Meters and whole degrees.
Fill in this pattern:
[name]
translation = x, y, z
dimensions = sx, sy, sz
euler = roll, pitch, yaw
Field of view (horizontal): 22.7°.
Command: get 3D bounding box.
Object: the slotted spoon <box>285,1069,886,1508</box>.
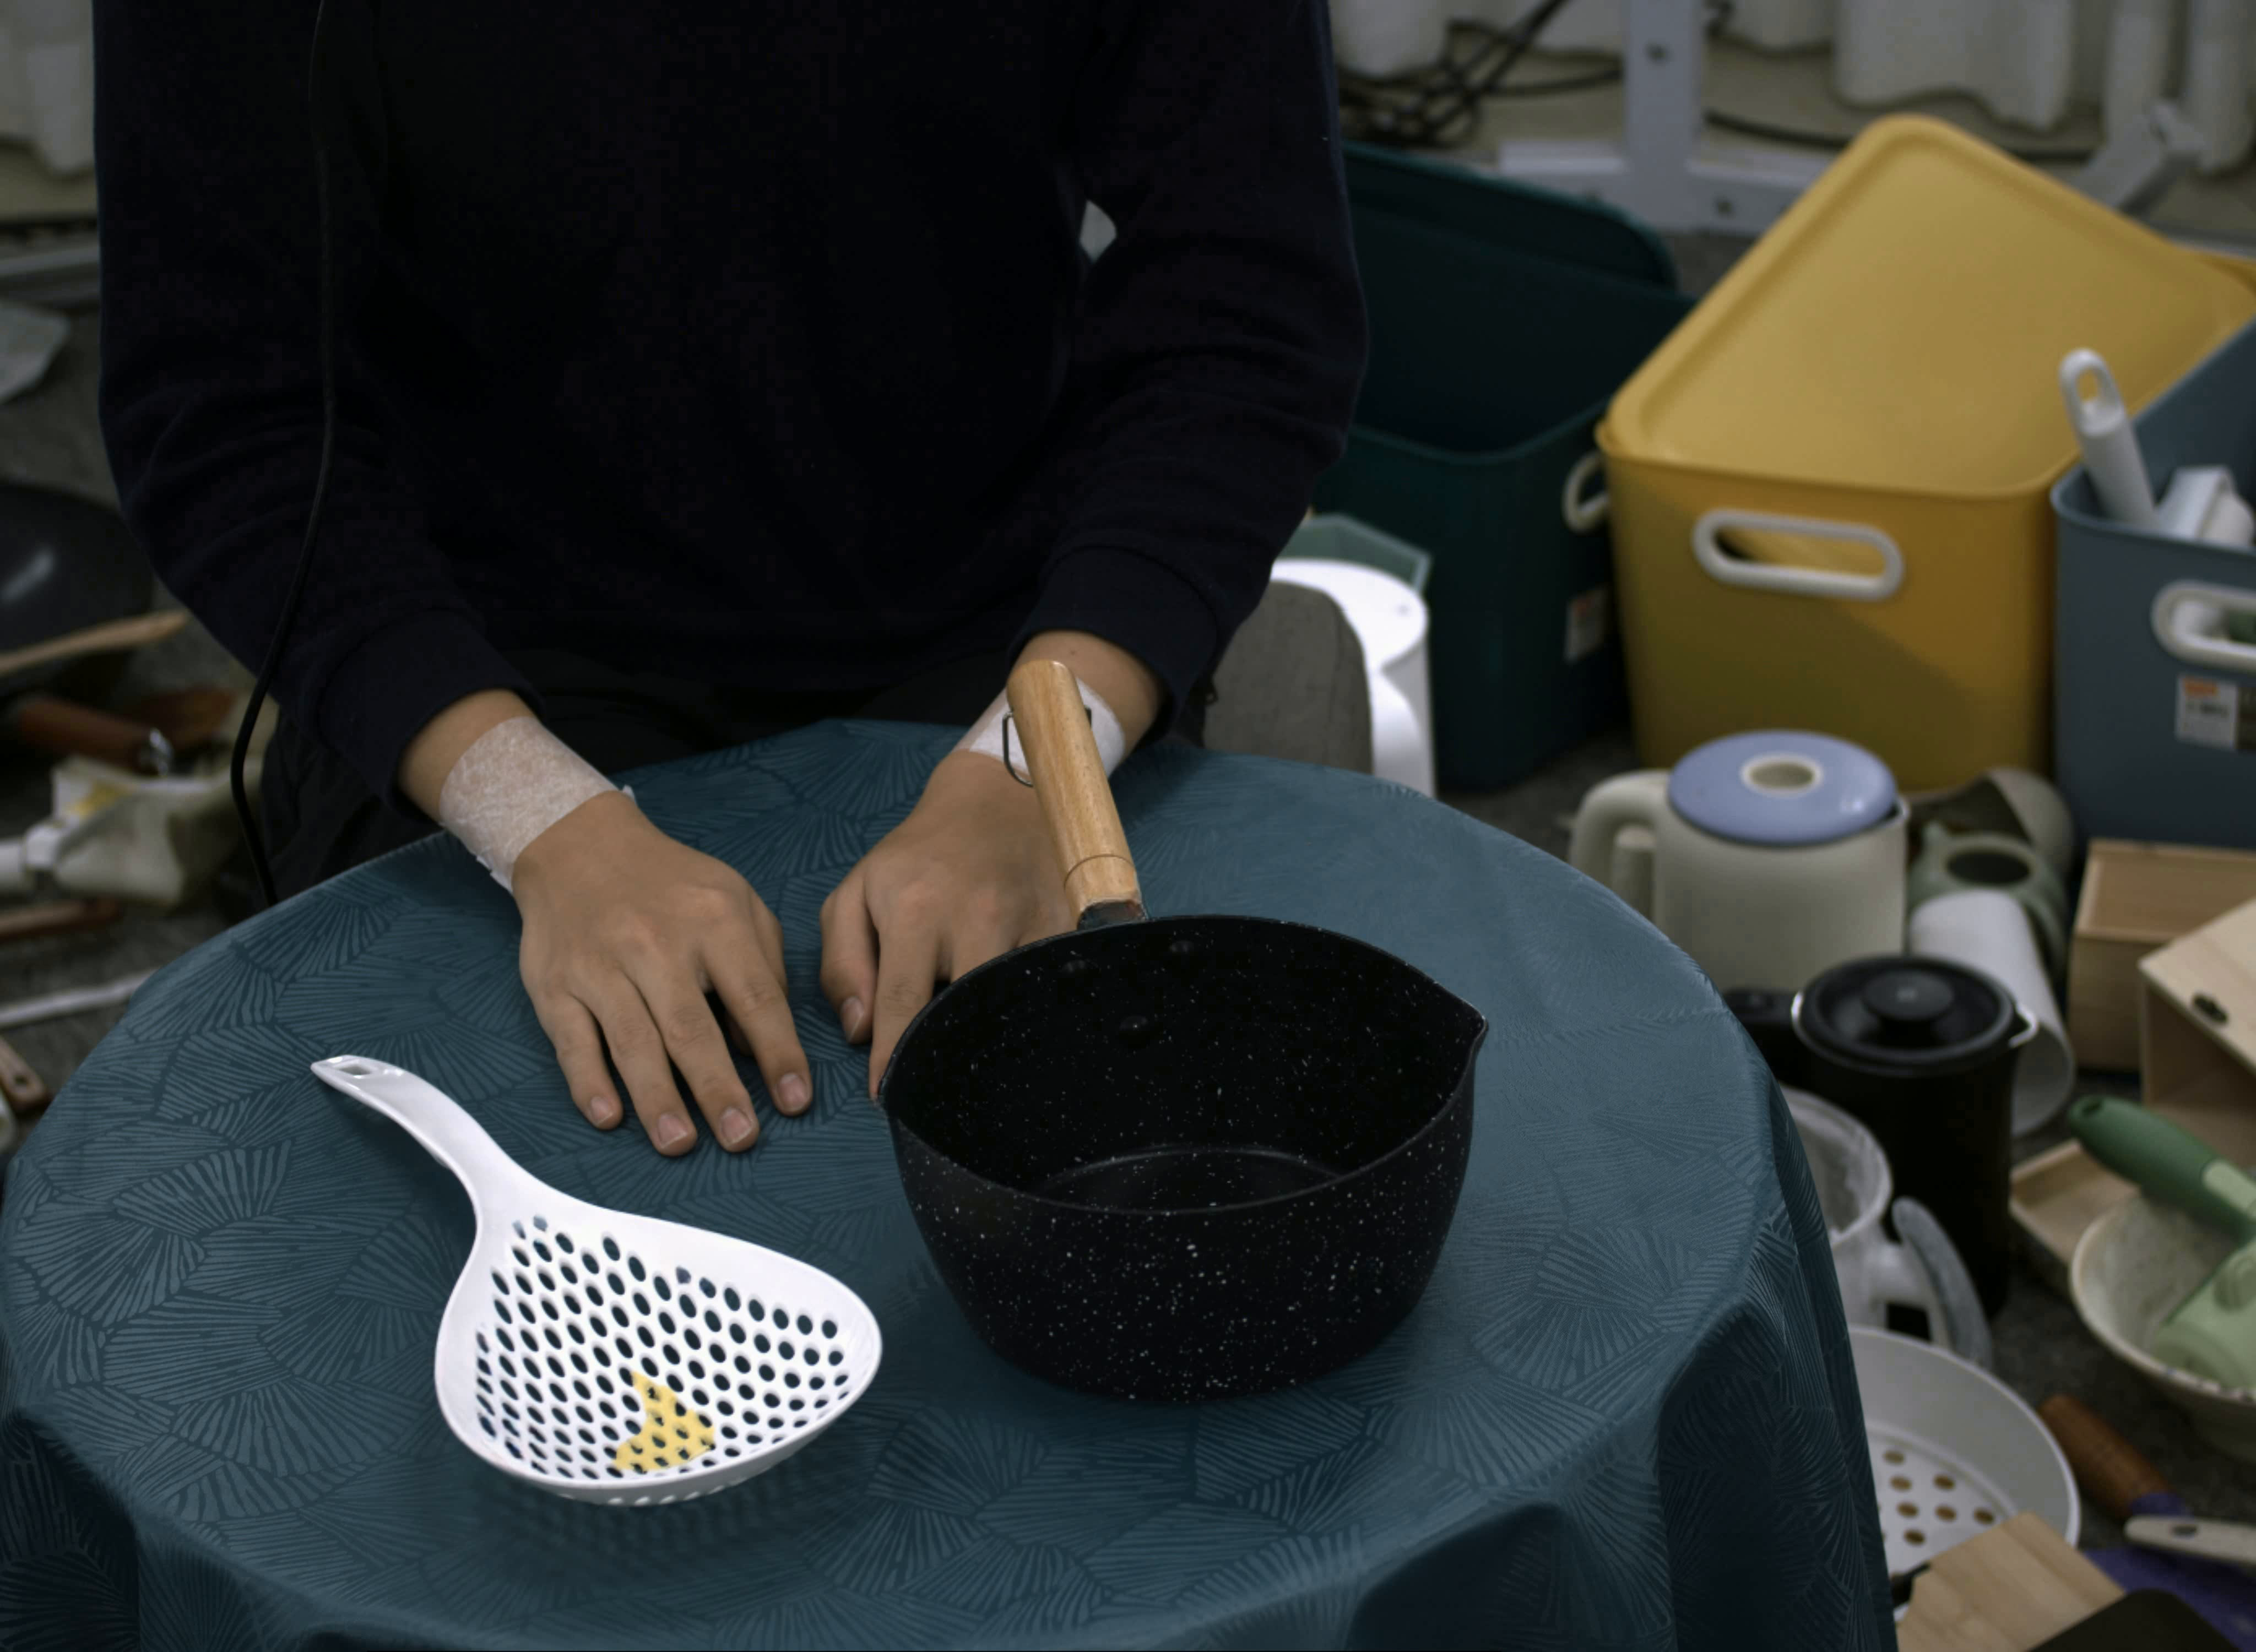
[slotted spoon]
translation = -0.196, 0.135, 1.810
dimensions = 0.137, 0.050, 0.349
euler = -19, 33, -24

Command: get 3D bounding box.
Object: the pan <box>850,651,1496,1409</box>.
[pan]
translation = 0.002, 0.063, 1.858
dimensions = 0.207, 0.107, 0.347
euler = -9, 29, -9
